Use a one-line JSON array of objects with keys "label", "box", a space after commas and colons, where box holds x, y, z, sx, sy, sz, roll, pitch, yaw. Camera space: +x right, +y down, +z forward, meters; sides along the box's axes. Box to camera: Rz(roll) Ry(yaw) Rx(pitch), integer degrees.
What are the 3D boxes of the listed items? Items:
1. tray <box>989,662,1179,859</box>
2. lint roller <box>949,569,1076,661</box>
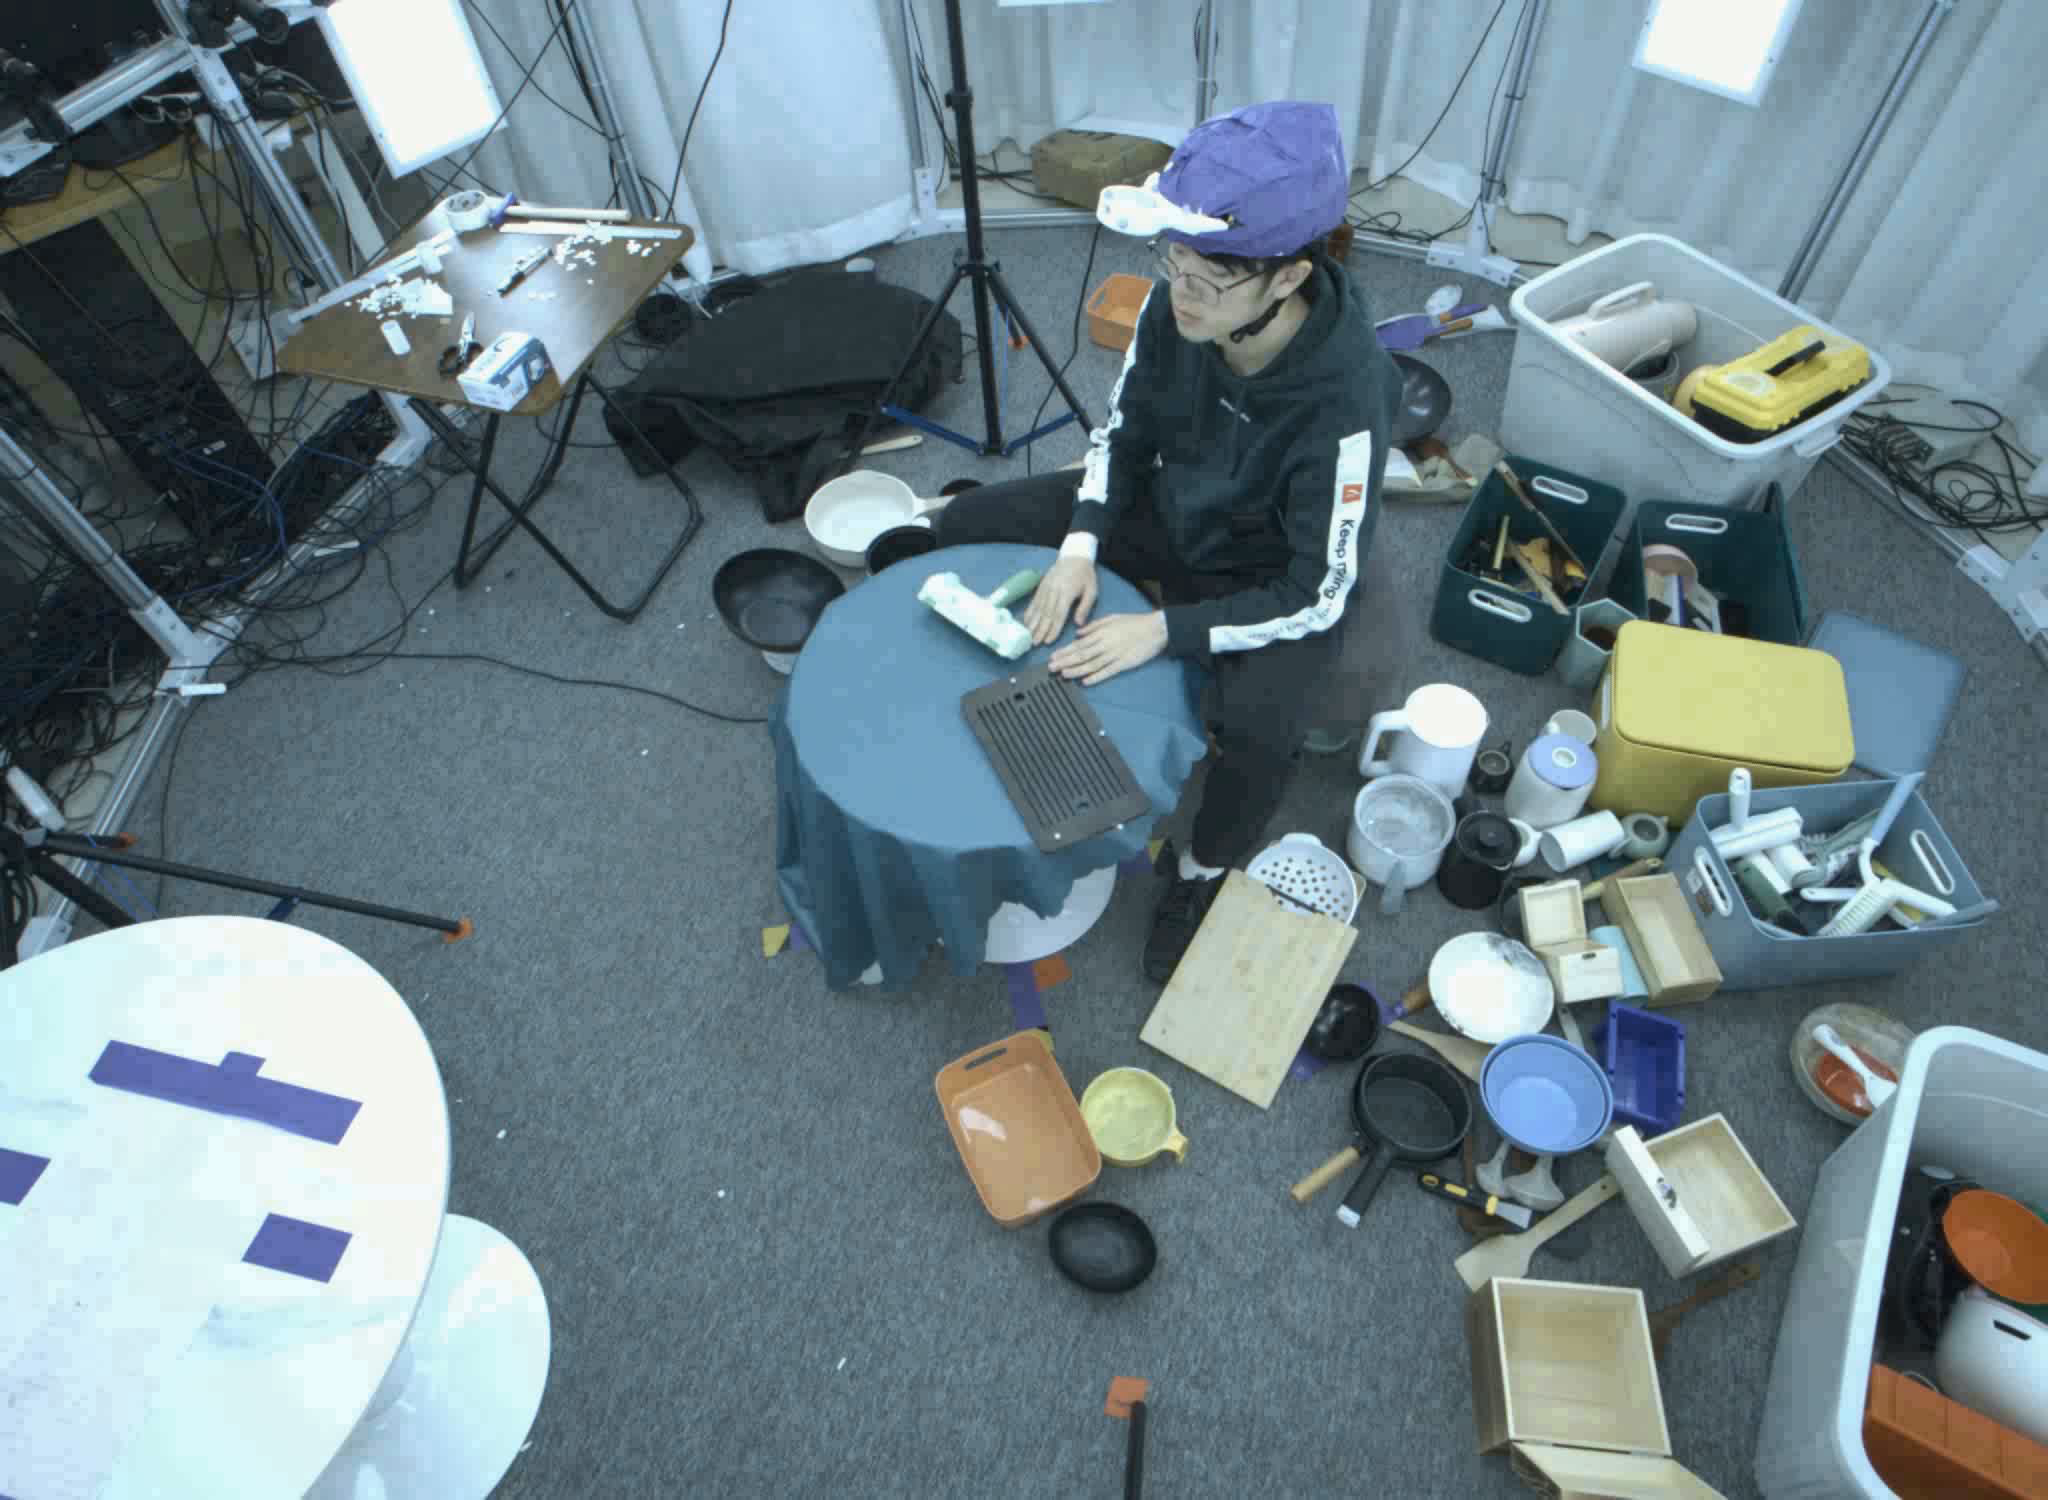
[{"label": "tray", "box": [0.082, 0.010, 1.767, 0.171, 0.019, 0.300, -21, 58, -12]}, {"label": "lint roller", "box": [0.011, -0.244, 1.907, 0.195, 0.083, 0.184, 38, 67, 25]}]
